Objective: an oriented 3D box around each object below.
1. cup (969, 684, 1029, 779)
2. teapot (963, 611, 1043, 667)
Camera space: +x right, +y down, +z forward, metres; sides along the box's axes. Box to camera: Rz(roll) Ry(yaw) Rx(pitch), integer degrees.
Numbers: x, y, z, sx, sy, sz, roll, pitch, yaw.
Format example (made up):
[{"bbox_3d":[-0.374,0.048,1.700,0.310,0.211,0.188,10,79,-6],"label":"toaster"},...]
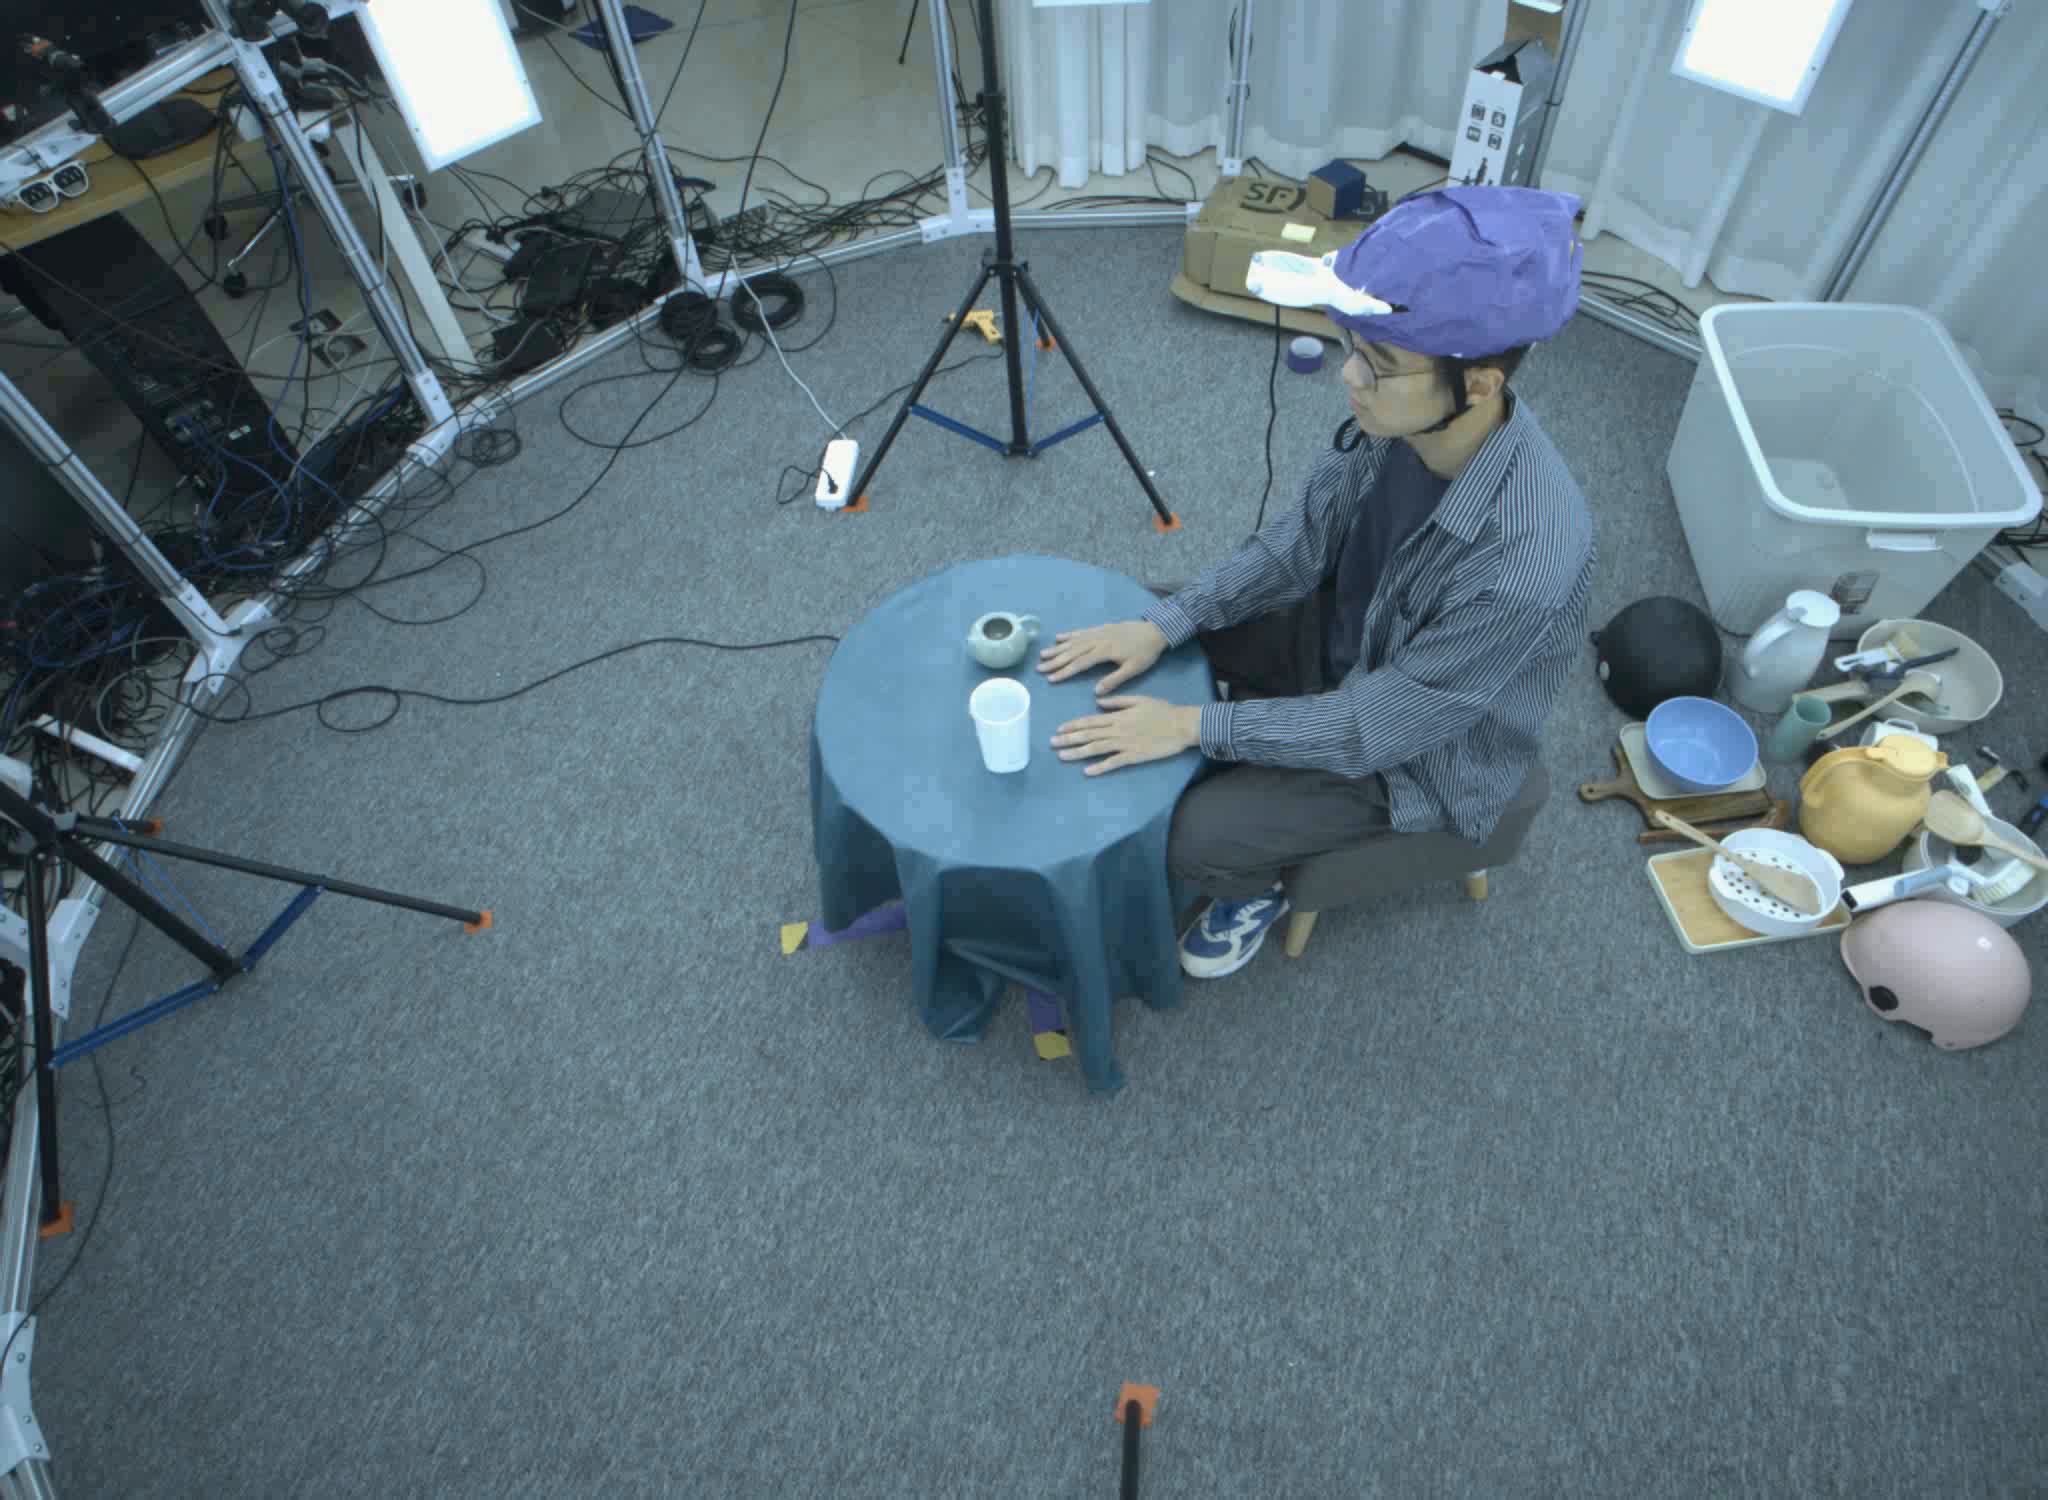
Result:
[{"bbox_3d":[-0.031,-0.022,1.728,0.081,0.127,0.081,-1,54,3],"label":"cup"},{"bbox_3d":[-0.032,-0.172,1.879,0.129,0.061,0.090,-19,54,-12],"label":"teapot"}]
